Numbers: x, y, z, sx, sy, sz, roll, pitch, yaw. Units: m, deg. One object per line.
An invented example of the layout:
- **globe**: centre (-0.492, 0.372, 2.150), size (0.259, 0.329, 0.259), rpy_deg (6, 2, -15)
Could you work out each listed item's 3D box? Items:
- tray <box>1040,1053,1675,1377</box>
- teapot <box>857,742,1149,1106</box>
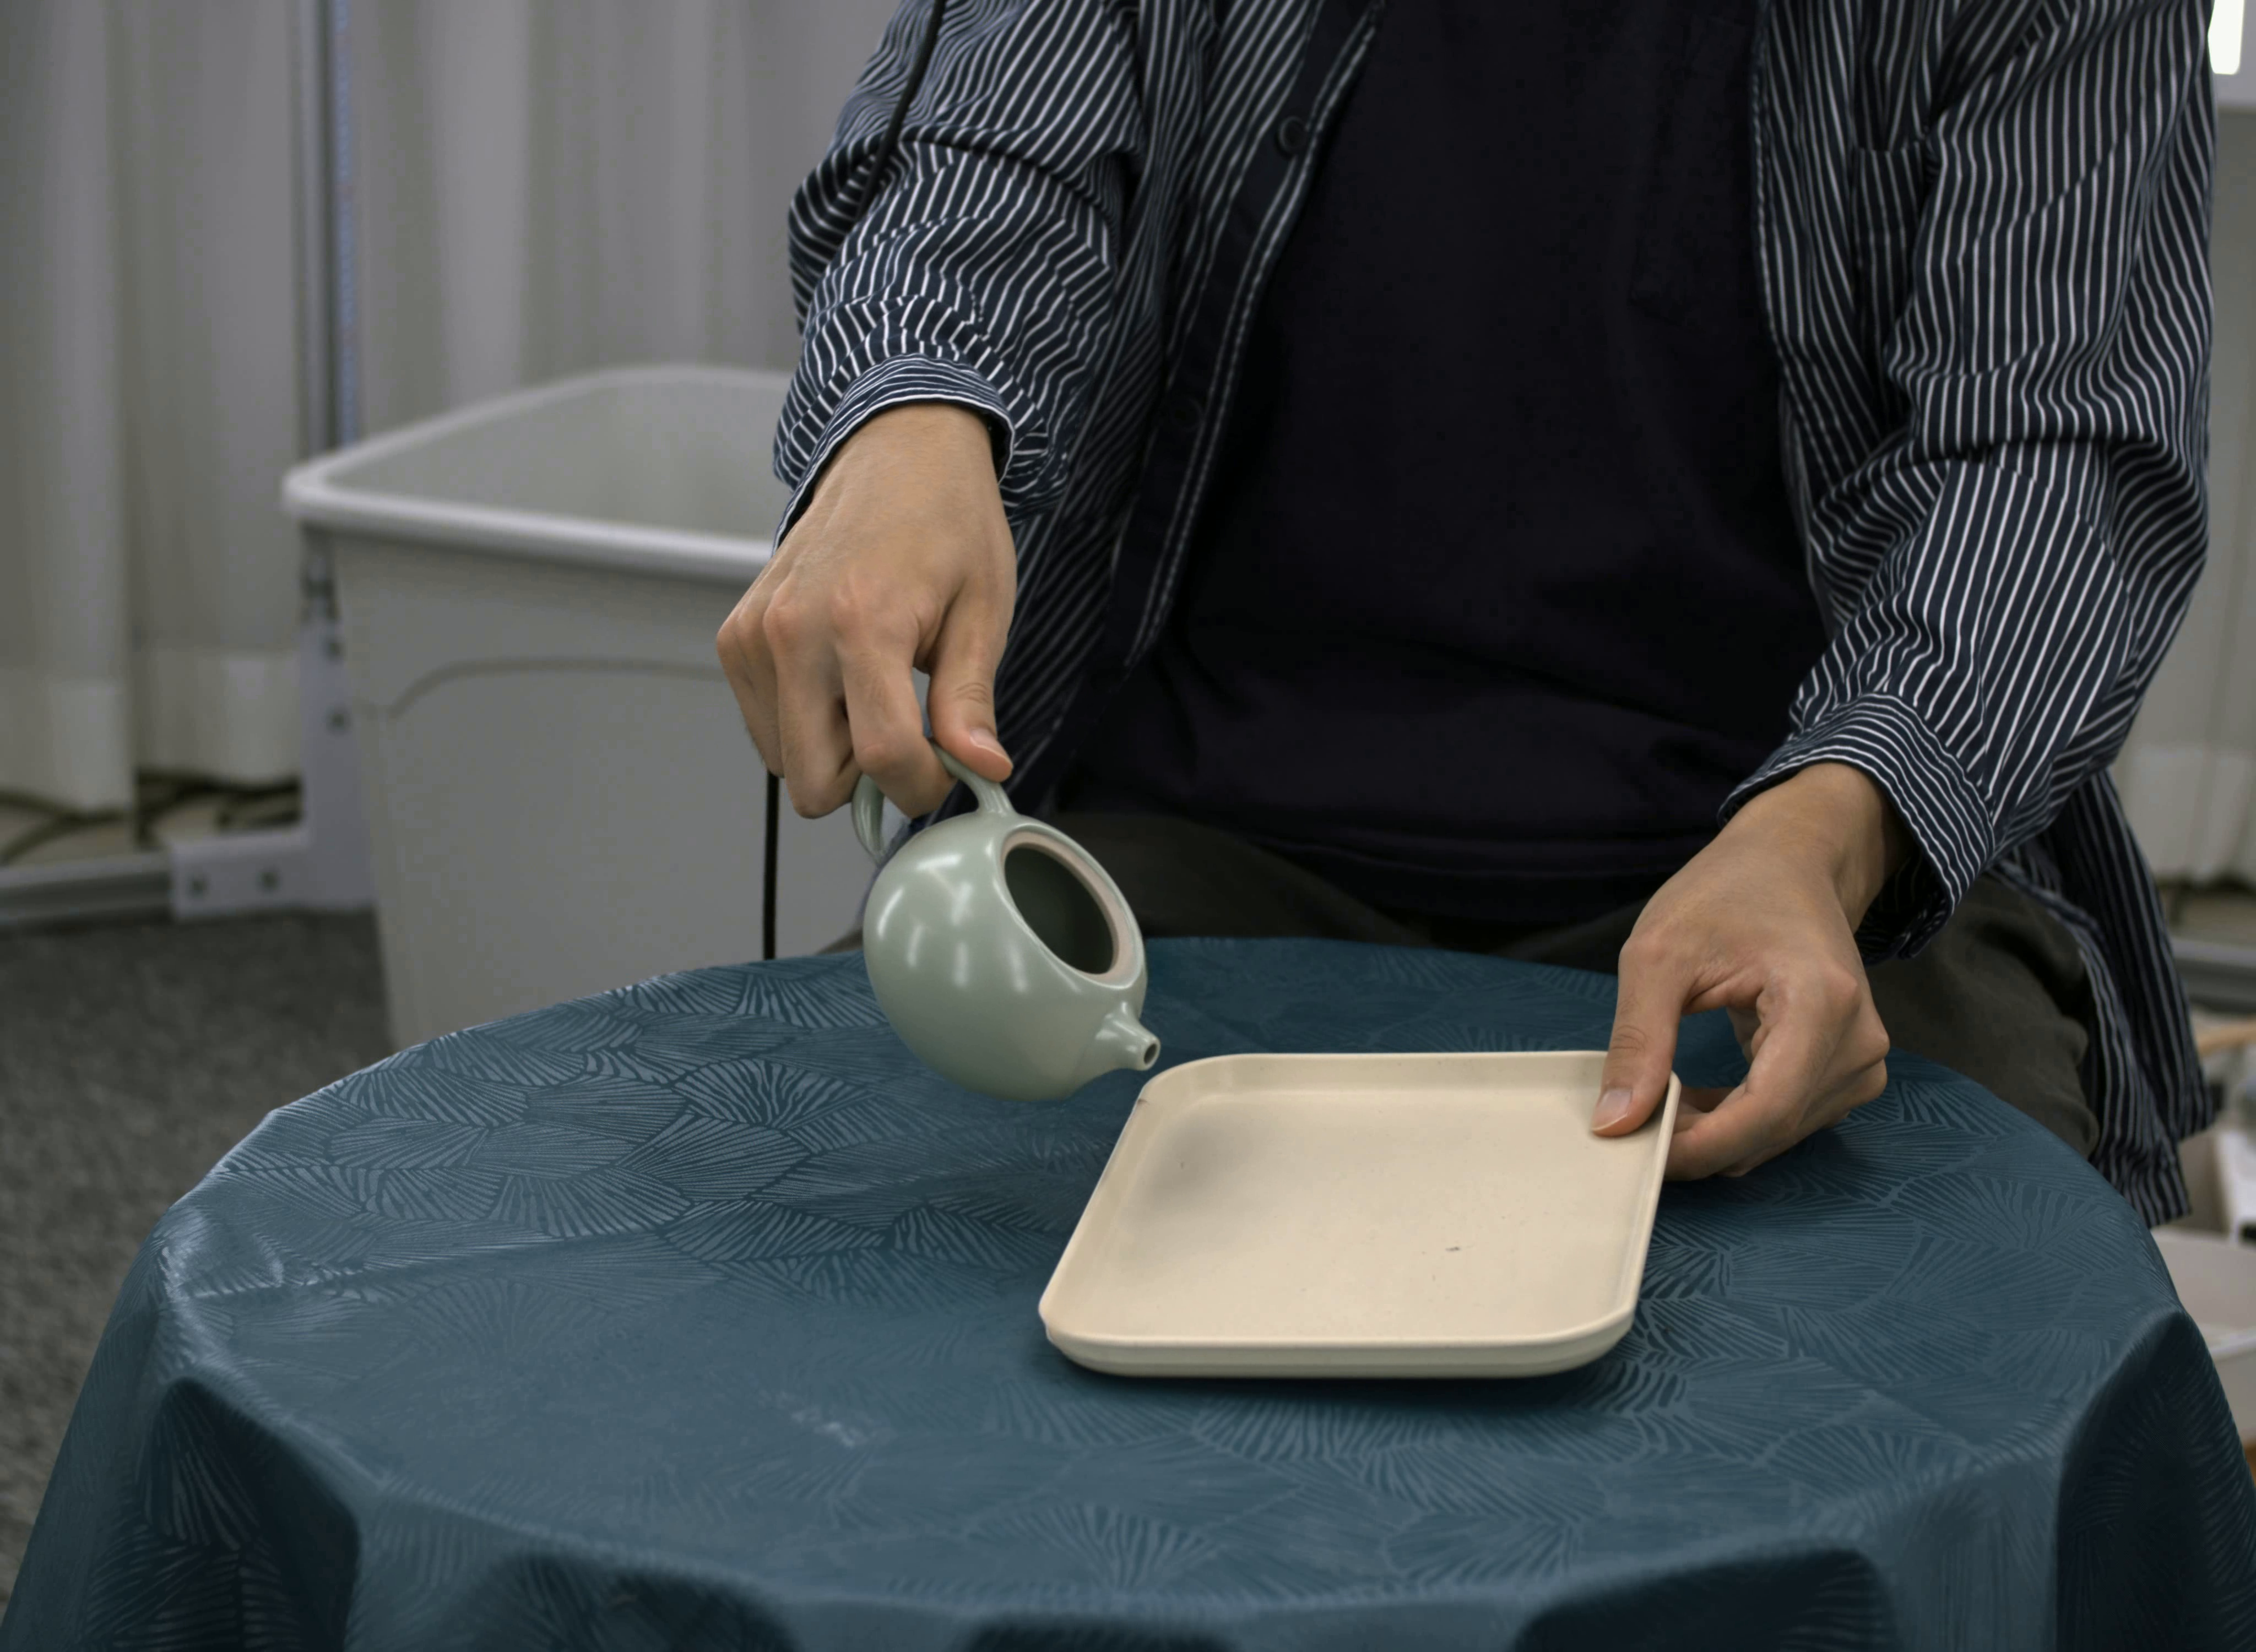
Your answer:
- **tray**: centre (0.073, 0.114, 1.565), size (0.170, 0.017, 0.239), rpy_deg (0, 17, 10)
- **teapot**: centre (-0.043, 0.032, 1.592), size (0.061, 0.128, 0.092), rpy_deg (-39, -19, 31)
